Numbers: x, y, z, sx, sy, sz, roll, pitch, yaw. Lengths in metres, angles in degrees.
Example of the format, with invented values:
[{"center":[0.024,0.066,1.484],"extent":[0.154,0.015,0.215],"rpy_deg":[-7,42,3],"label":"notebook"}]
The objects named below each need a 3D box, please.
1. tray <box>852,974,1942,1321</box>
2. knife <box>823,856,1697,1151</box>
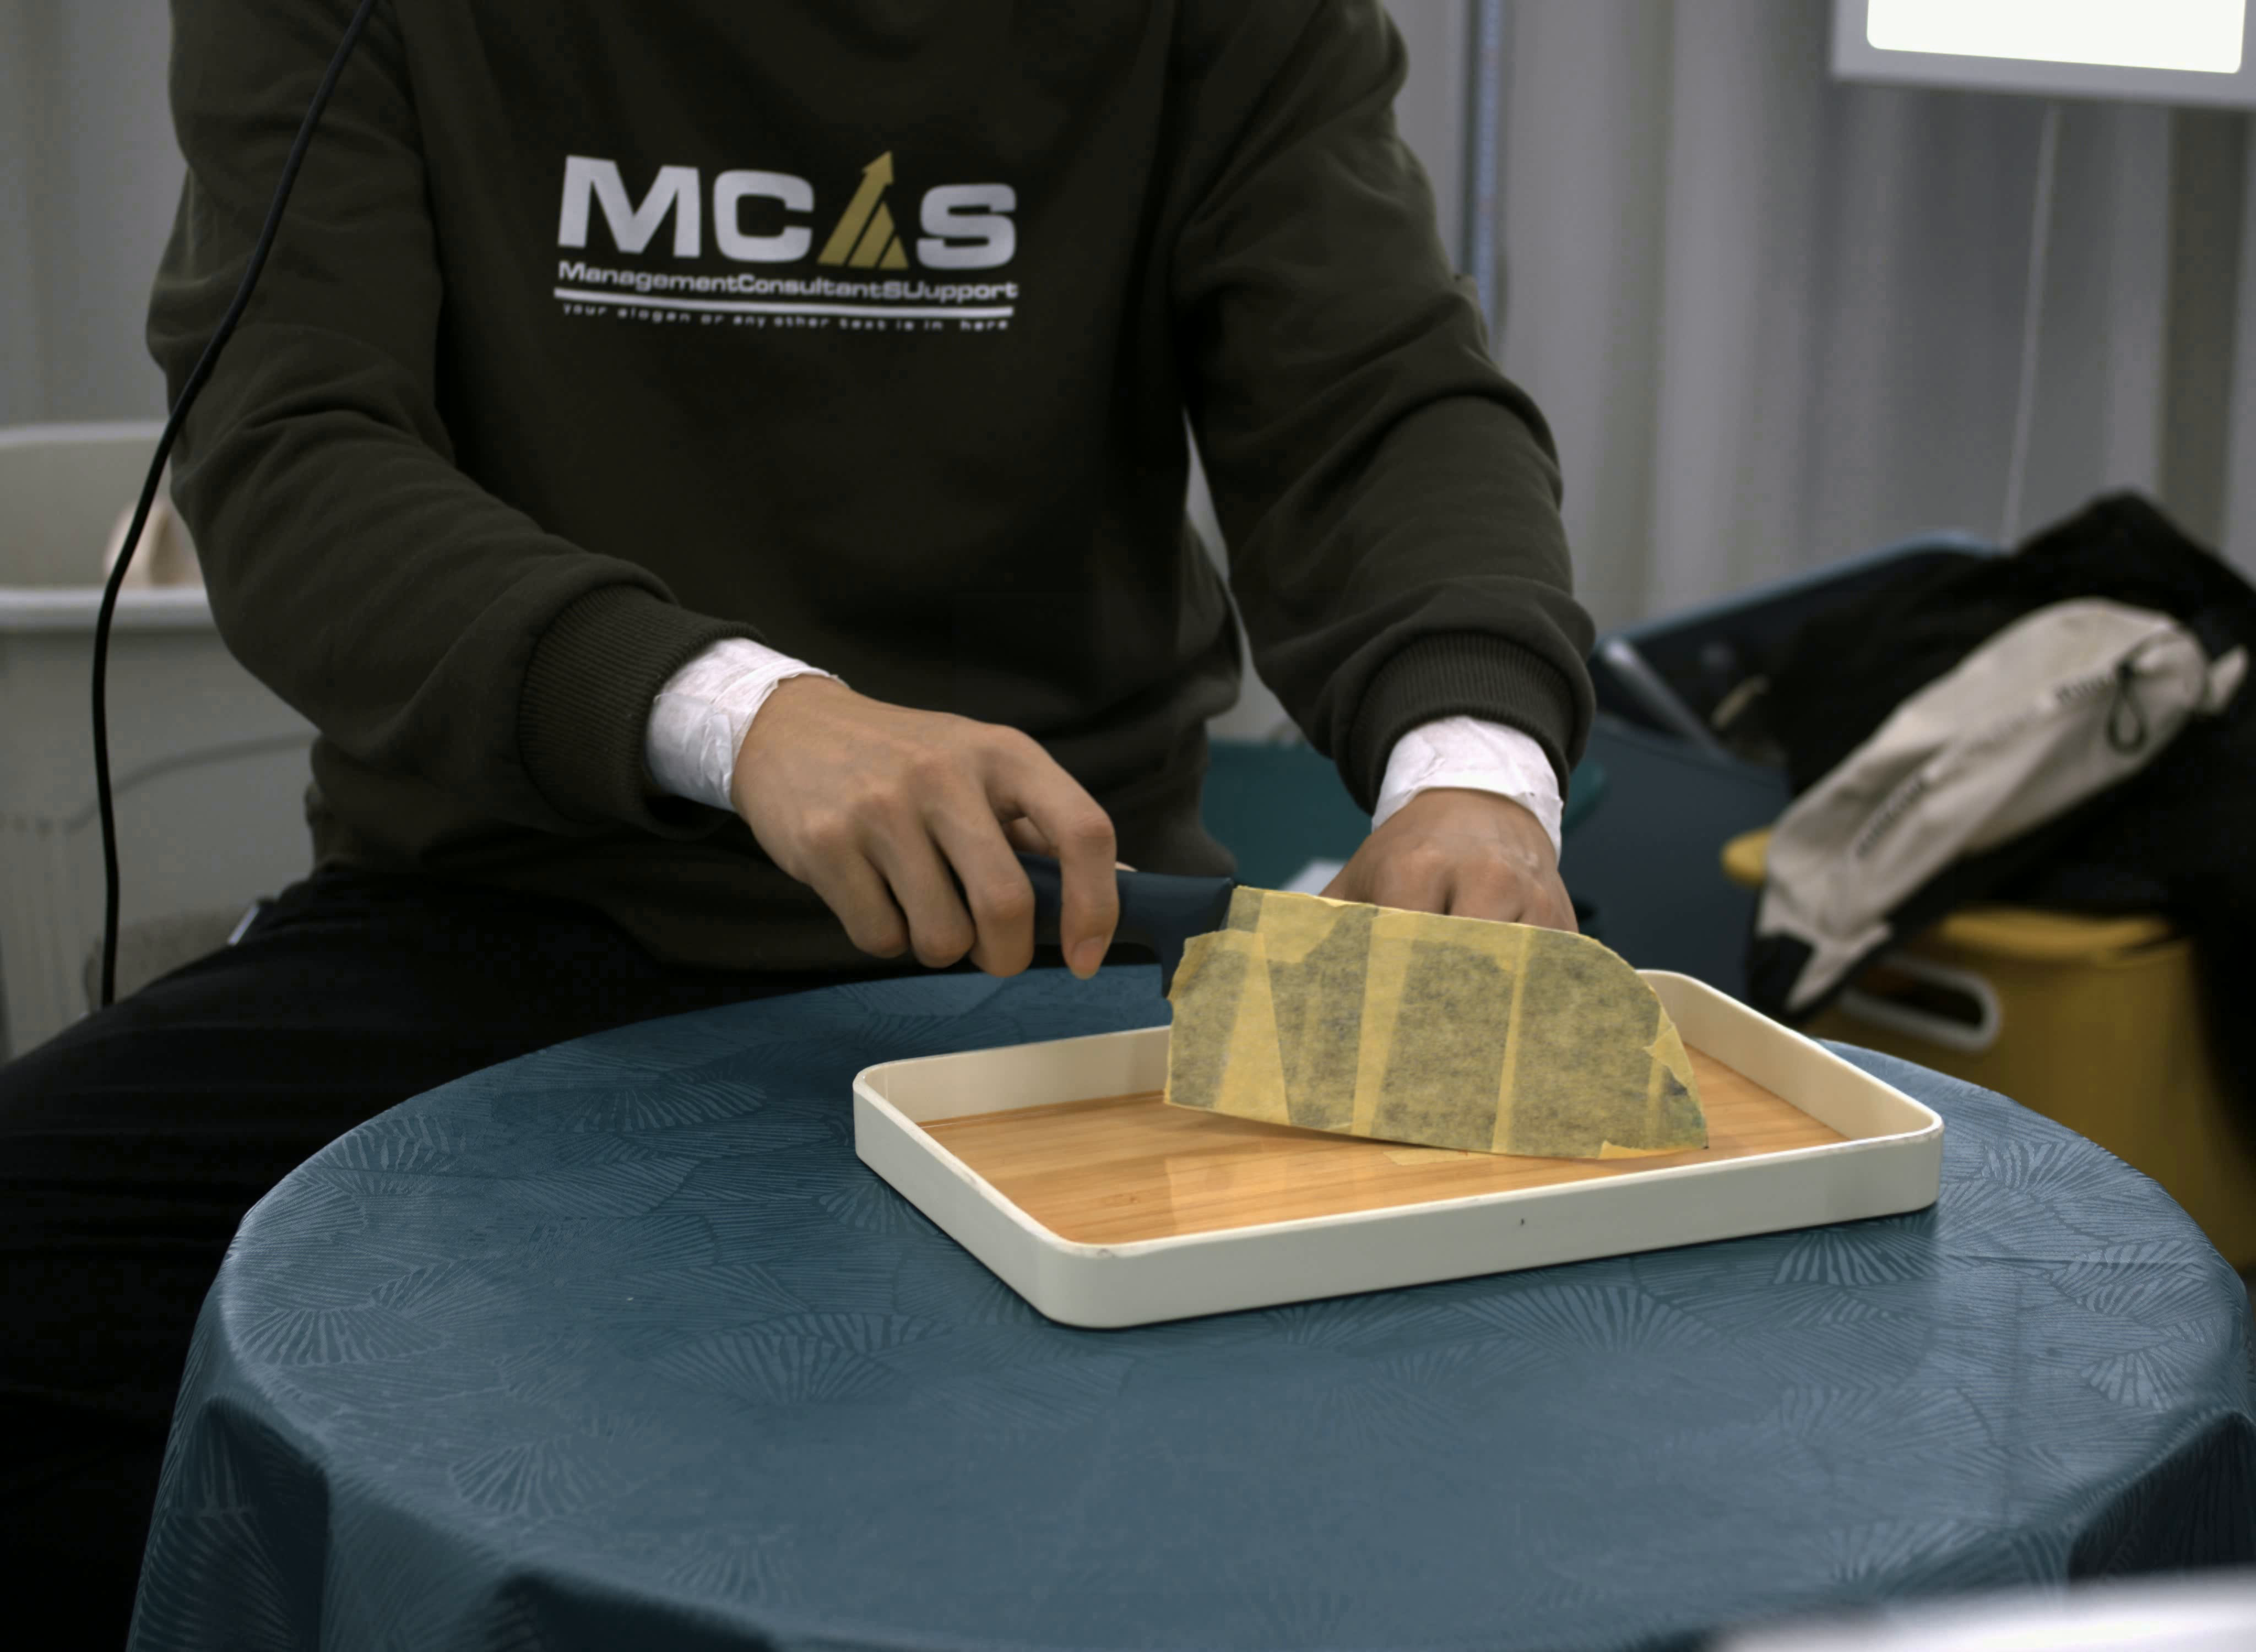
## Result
[{"center":[0.082,0.096,1.636],"extent":[0.301,0.027,0.189],"rpy_deg":[-6,16,-23],"label":"tray"},{"center":[0.039,0.054,1.656],"extent":[0.287,0.081,0.027],"rpy_deg":[10,0,13],"label":"knife"}]
